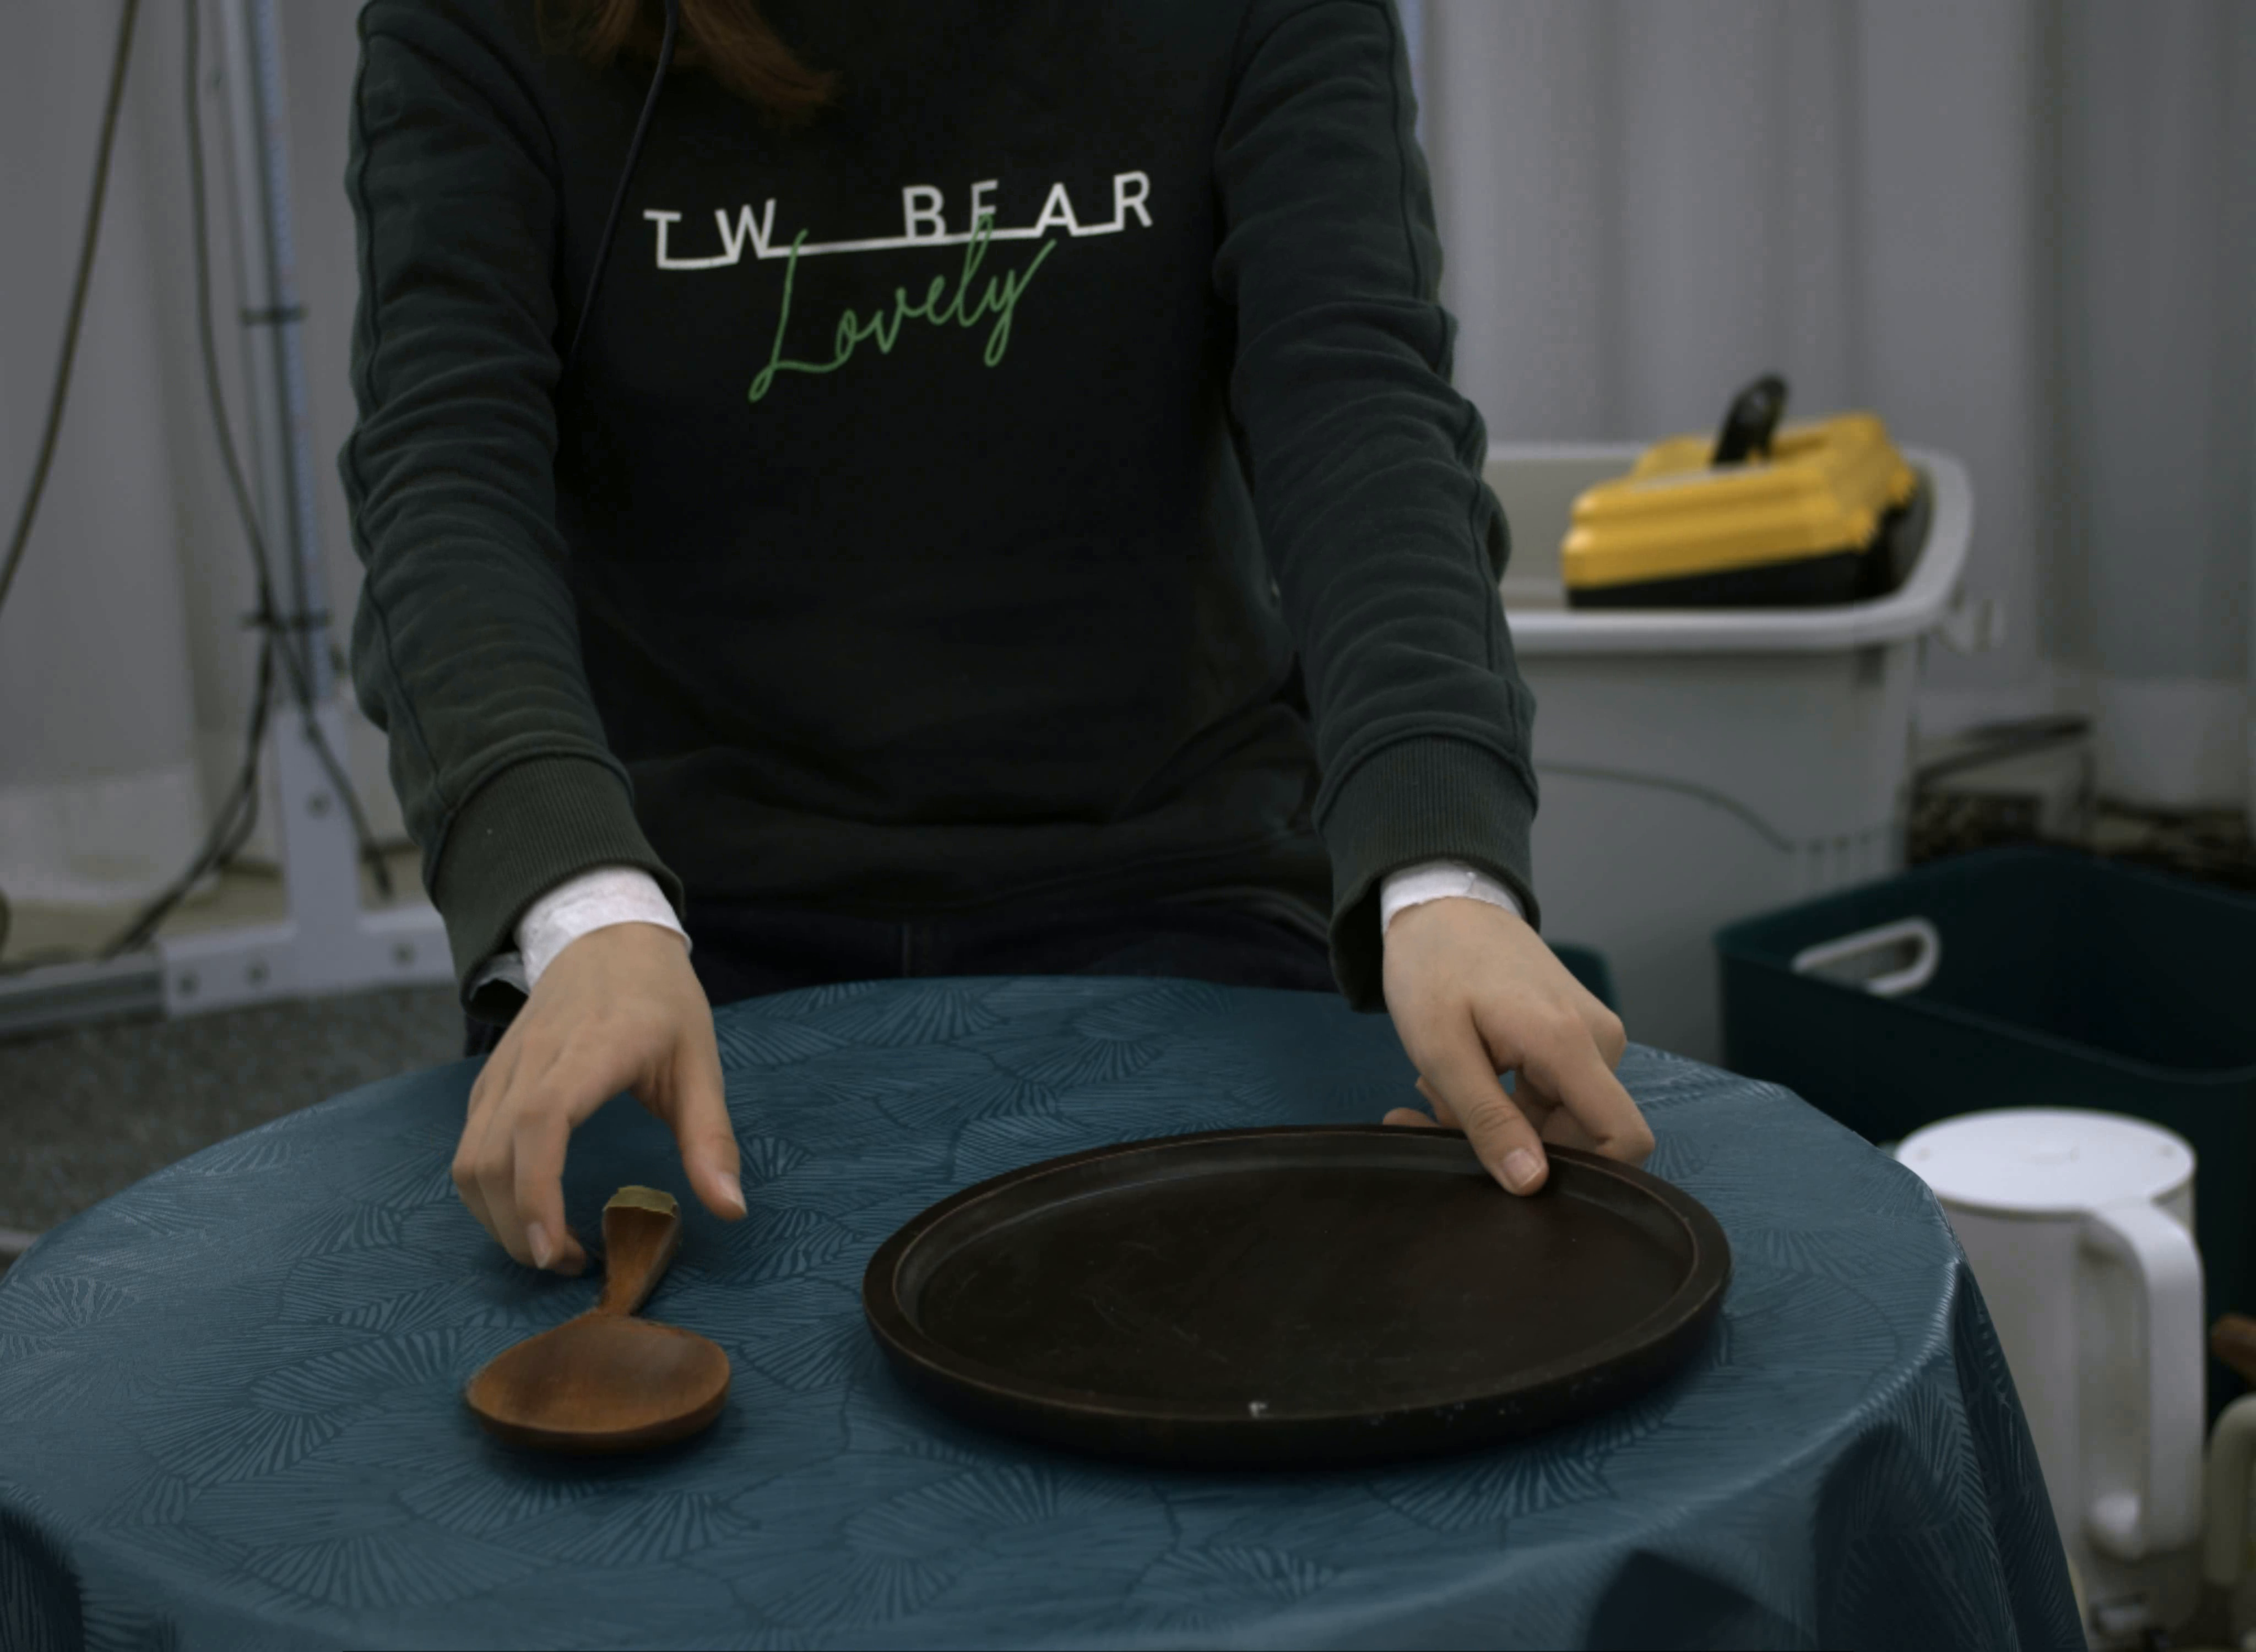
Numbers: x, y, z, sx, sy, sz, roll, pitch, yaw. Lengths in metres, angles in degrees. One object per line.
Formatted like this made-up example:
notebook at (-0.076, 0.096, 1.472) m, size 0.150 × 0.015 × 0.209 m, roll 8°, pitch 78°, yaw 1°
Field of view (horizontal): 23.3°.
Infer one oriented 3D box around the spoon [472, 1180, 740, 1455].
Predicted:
spoon at (-0.148, 0.145, 1.597) m, size 0.075 × 0.017 × 0.217 m, roll -3°, pitch 15°, yaw -1°

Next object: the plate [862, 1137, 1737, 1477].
plate at (0.049, 0.136, 1.583) m, size 0.254 × 0.029 × 0.256 m, roll -2°, pitch 16°, yaw 0°
